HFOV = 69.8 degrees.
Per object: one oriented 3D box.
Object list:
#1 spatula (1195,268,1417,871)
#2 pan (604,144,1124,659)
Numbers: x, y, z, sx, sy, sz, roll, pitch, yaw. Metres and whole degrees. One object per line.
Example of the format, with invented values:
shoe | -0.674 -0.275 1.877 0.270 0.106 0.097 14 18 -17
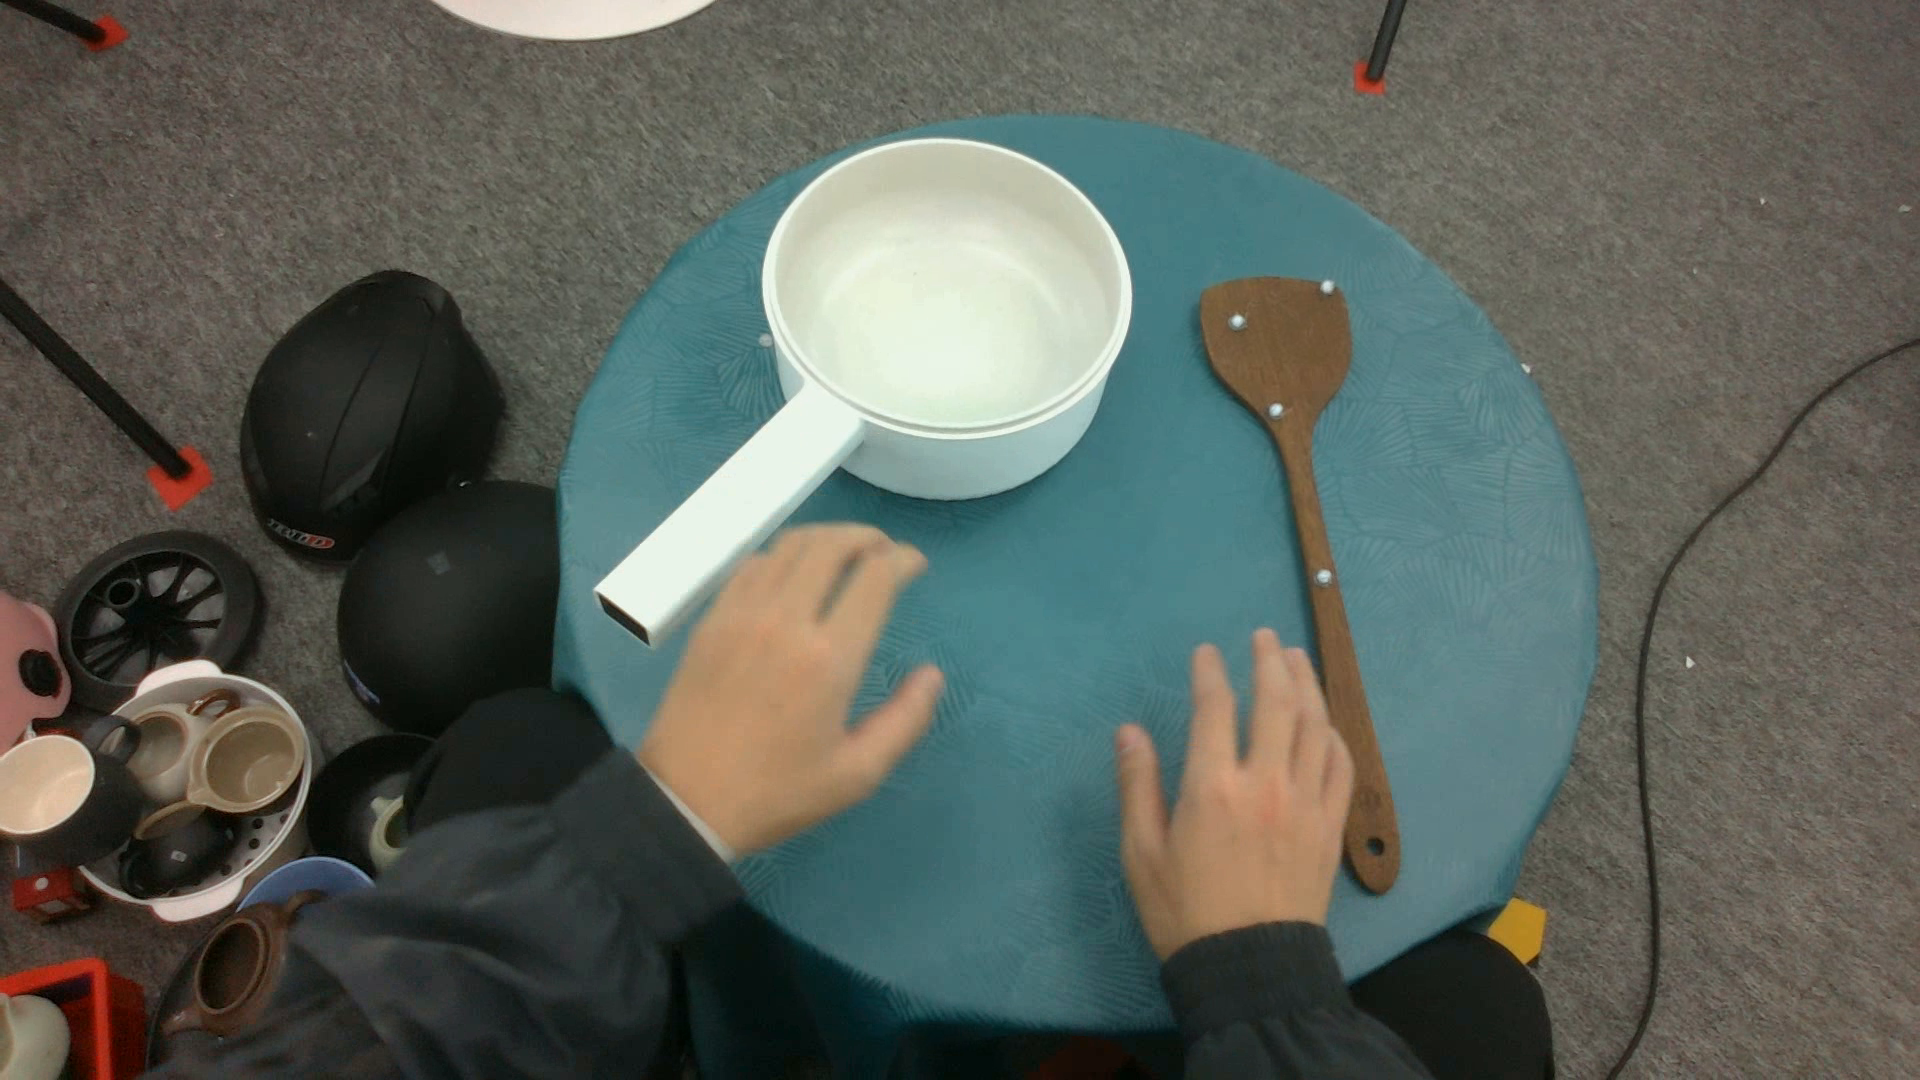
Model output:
spatula | 0.209 -0.002 0.797 0.096 0.016 0.387 -3 62 -4
pan | -0.055 -0.066 0.771 0.201 0.101 0.356 33 67 14
